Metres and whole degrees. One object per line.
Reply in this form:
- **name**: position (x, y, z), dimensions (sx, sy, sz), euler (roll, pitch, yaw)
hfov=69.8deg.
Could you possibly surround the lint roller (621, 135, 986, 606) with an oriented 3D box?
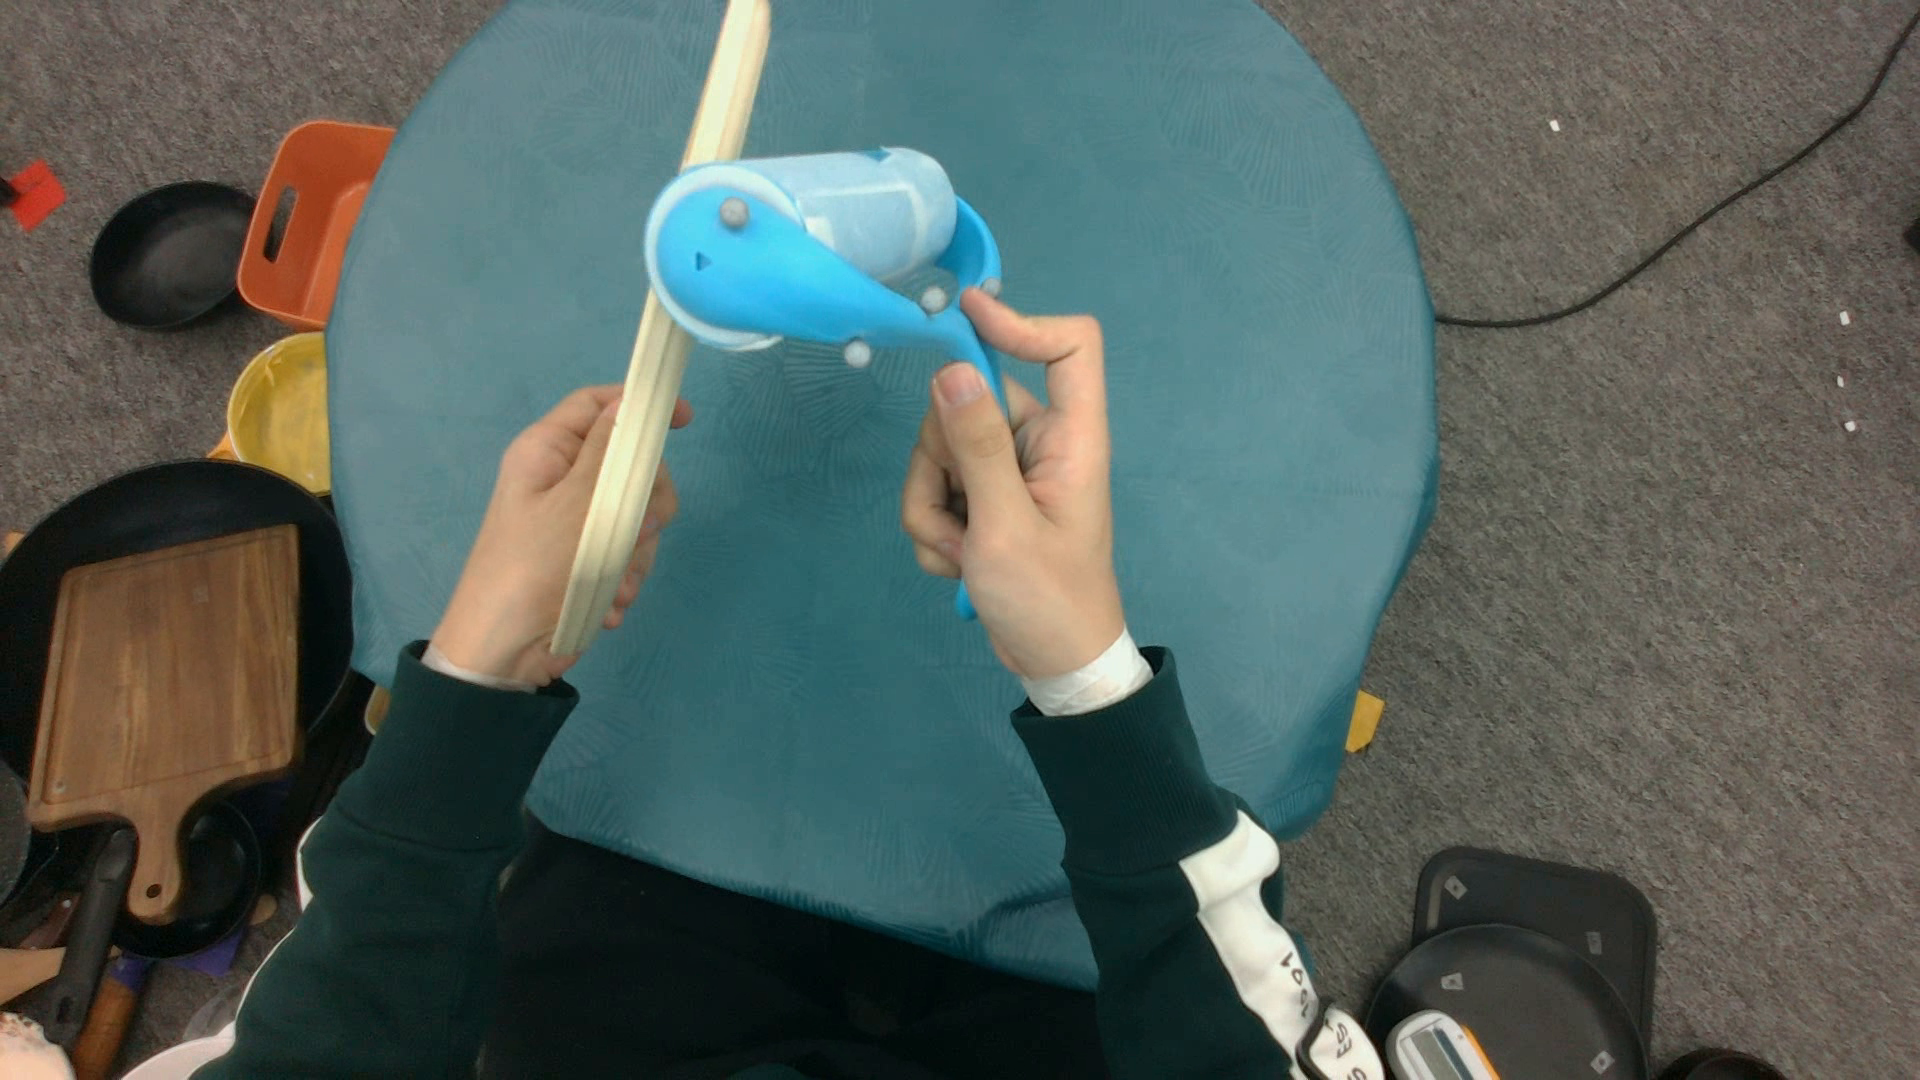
- **lint roller**: position (-0.026, -0.065, 0.507), dimensions (0.068, 0.230, 0.180), euler (-29, 103, 17)

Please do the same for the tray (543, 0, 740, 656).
- **tray**: position (-0.122, -0.081, 0.532), dimensions (0.017, 0.170, 0.240), euler (13, 68, -15)
